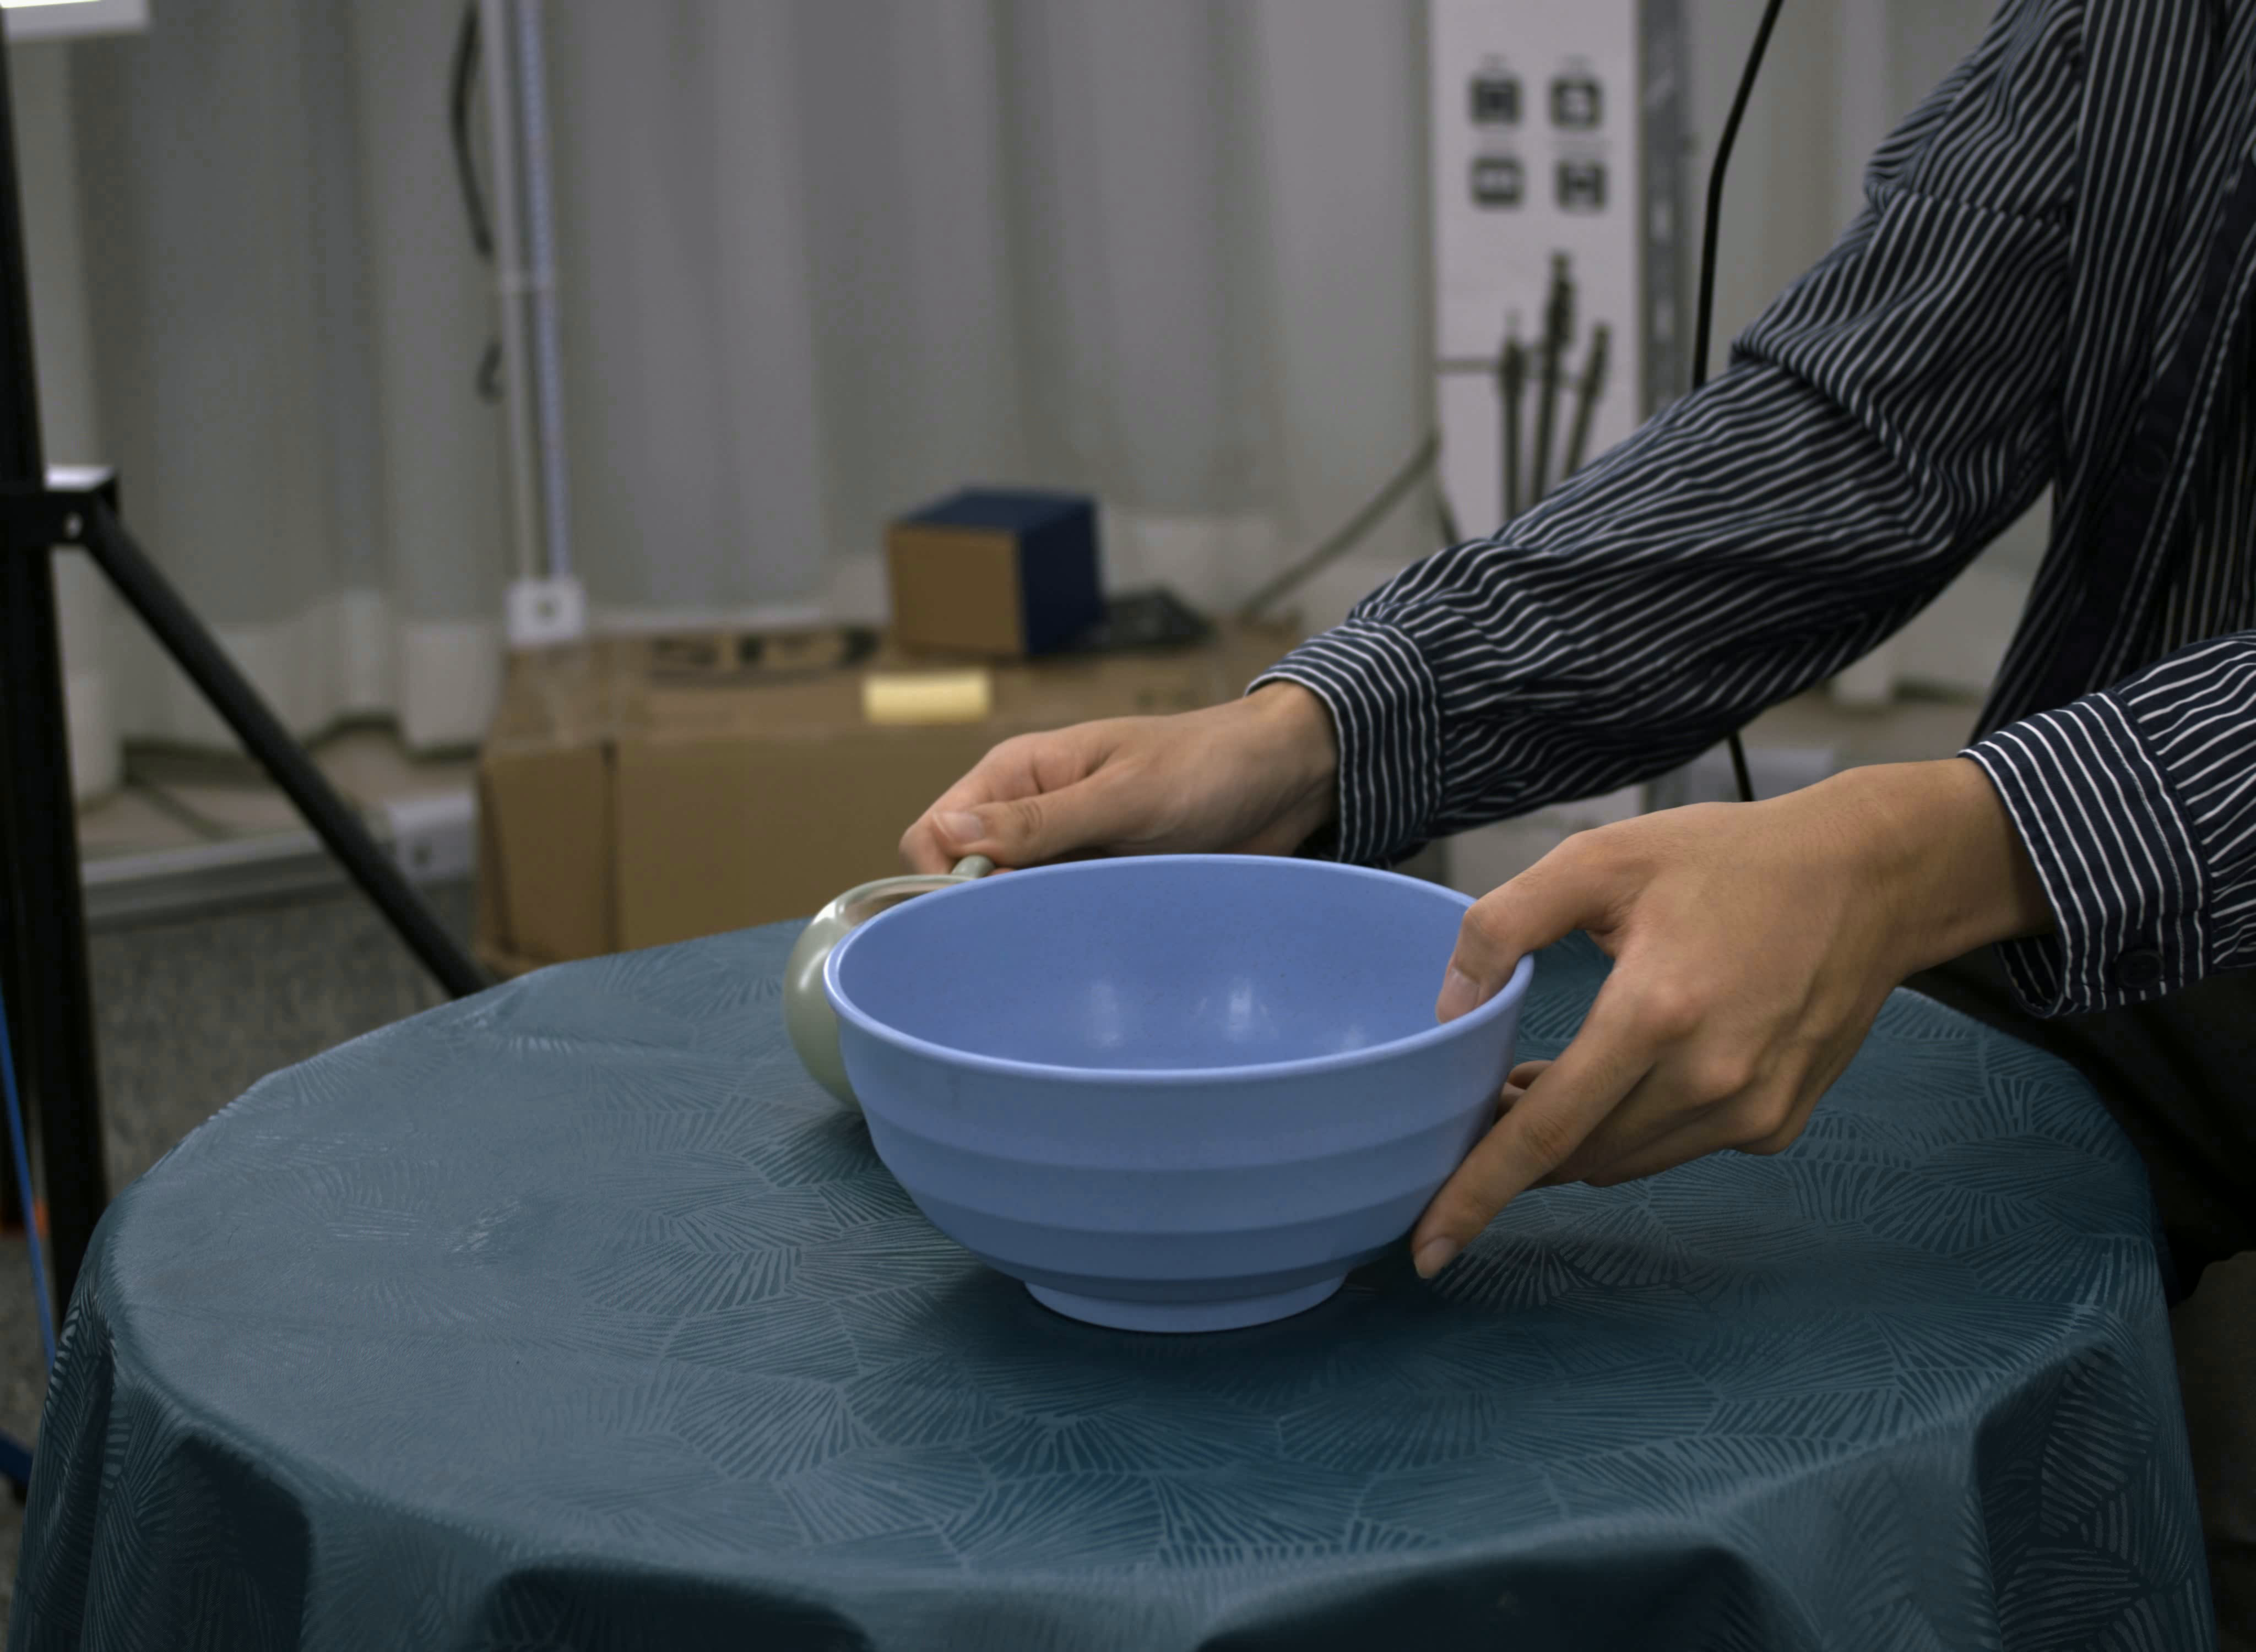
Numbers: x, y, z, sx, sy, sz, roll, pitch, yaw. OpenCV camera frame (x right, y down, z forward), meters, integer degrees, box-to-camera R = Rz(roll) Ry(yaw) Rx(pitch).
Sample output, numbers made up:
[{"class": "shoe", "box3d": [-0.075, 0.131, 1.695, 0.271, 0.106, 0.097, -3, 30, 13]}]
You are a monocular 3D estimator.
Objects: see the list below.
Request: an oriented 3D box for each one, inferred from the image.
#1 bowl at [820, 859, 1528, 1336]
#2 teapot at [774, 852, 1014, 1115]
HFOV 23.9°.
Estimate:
[{"class": "bowl", "box3d": [0.014, 0.081, 1.480, 0.195, 0.095, 0.197, -2, 16, -1]}, {"class": "teapot", "box3d": [-0.060, 0.049, 1.640, 0.092, 0.061, 0.127, 7, 22, 18]}]
